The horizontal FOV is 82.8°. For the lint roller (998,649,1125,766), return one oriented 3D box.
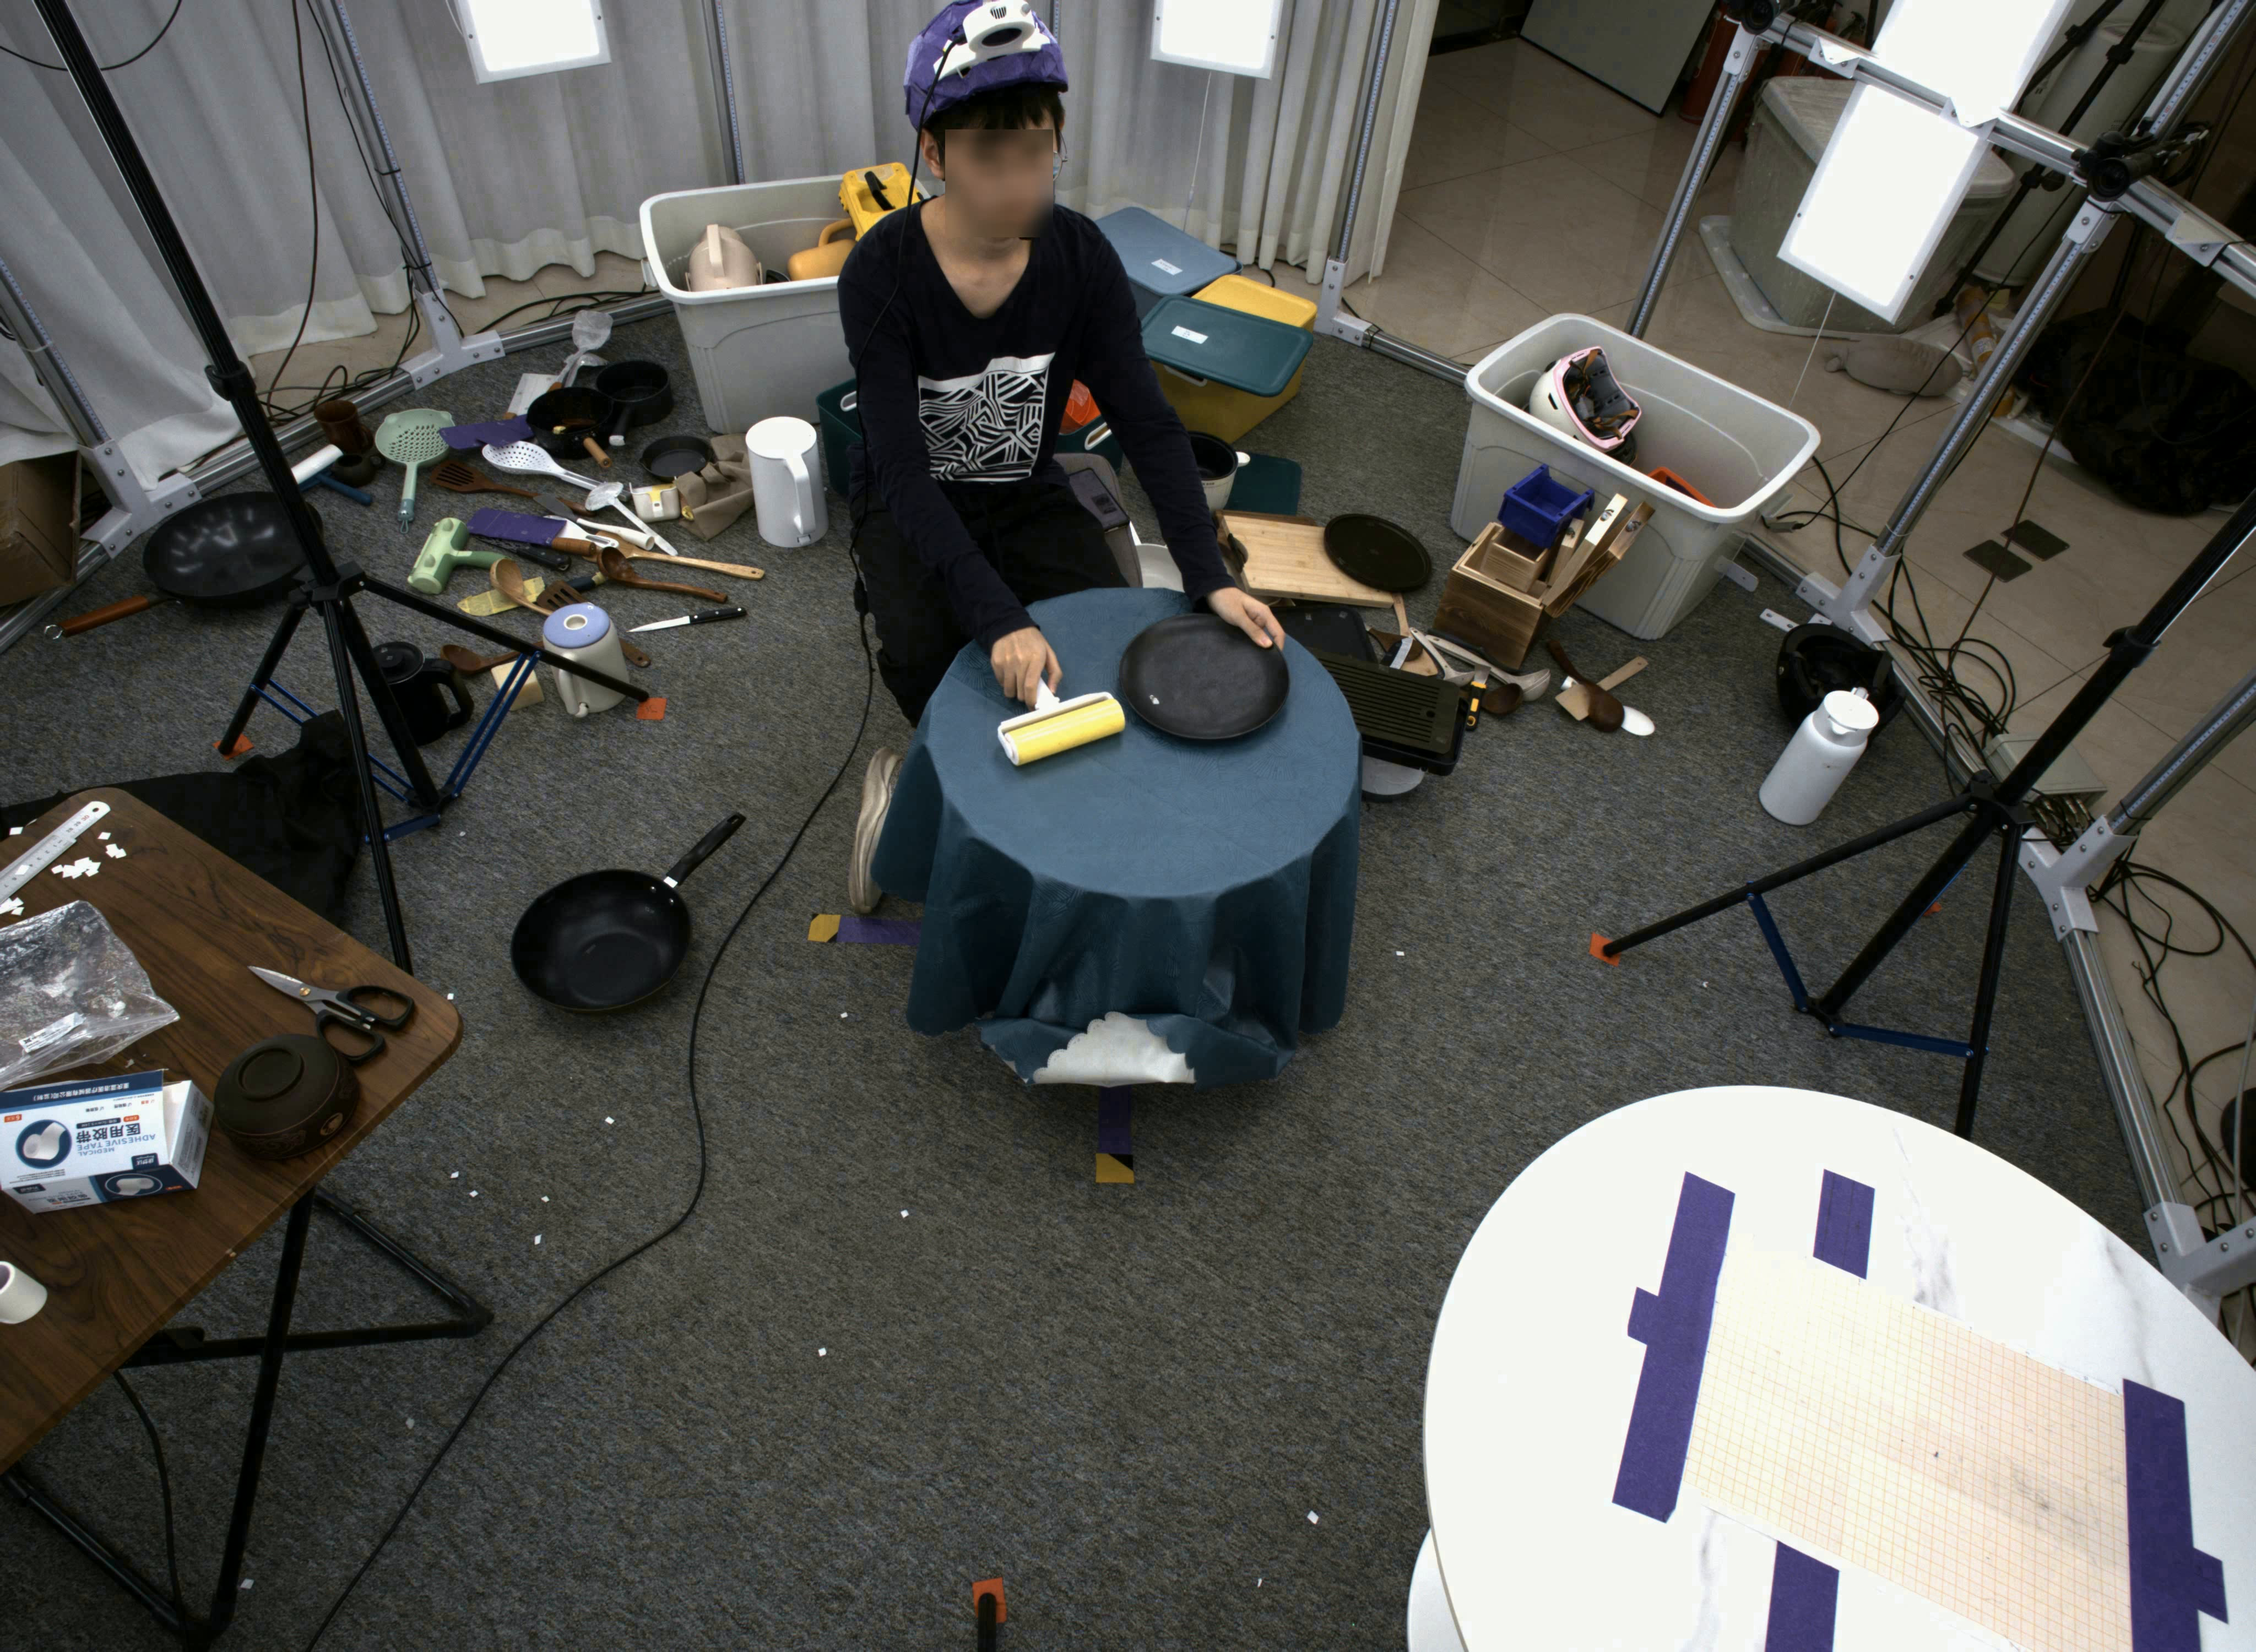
[{"bbox_3d":[-0.120,-0.184,1.774,0.175,0.050,0.195,-21,63,-22],"label":"lint roller"}]

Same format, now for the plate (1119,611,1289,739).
[{"bbox_3d":[0.108,-0.214,1.836,0.244,0.023,0.250,0,53,-1],"label":"plate"}]
